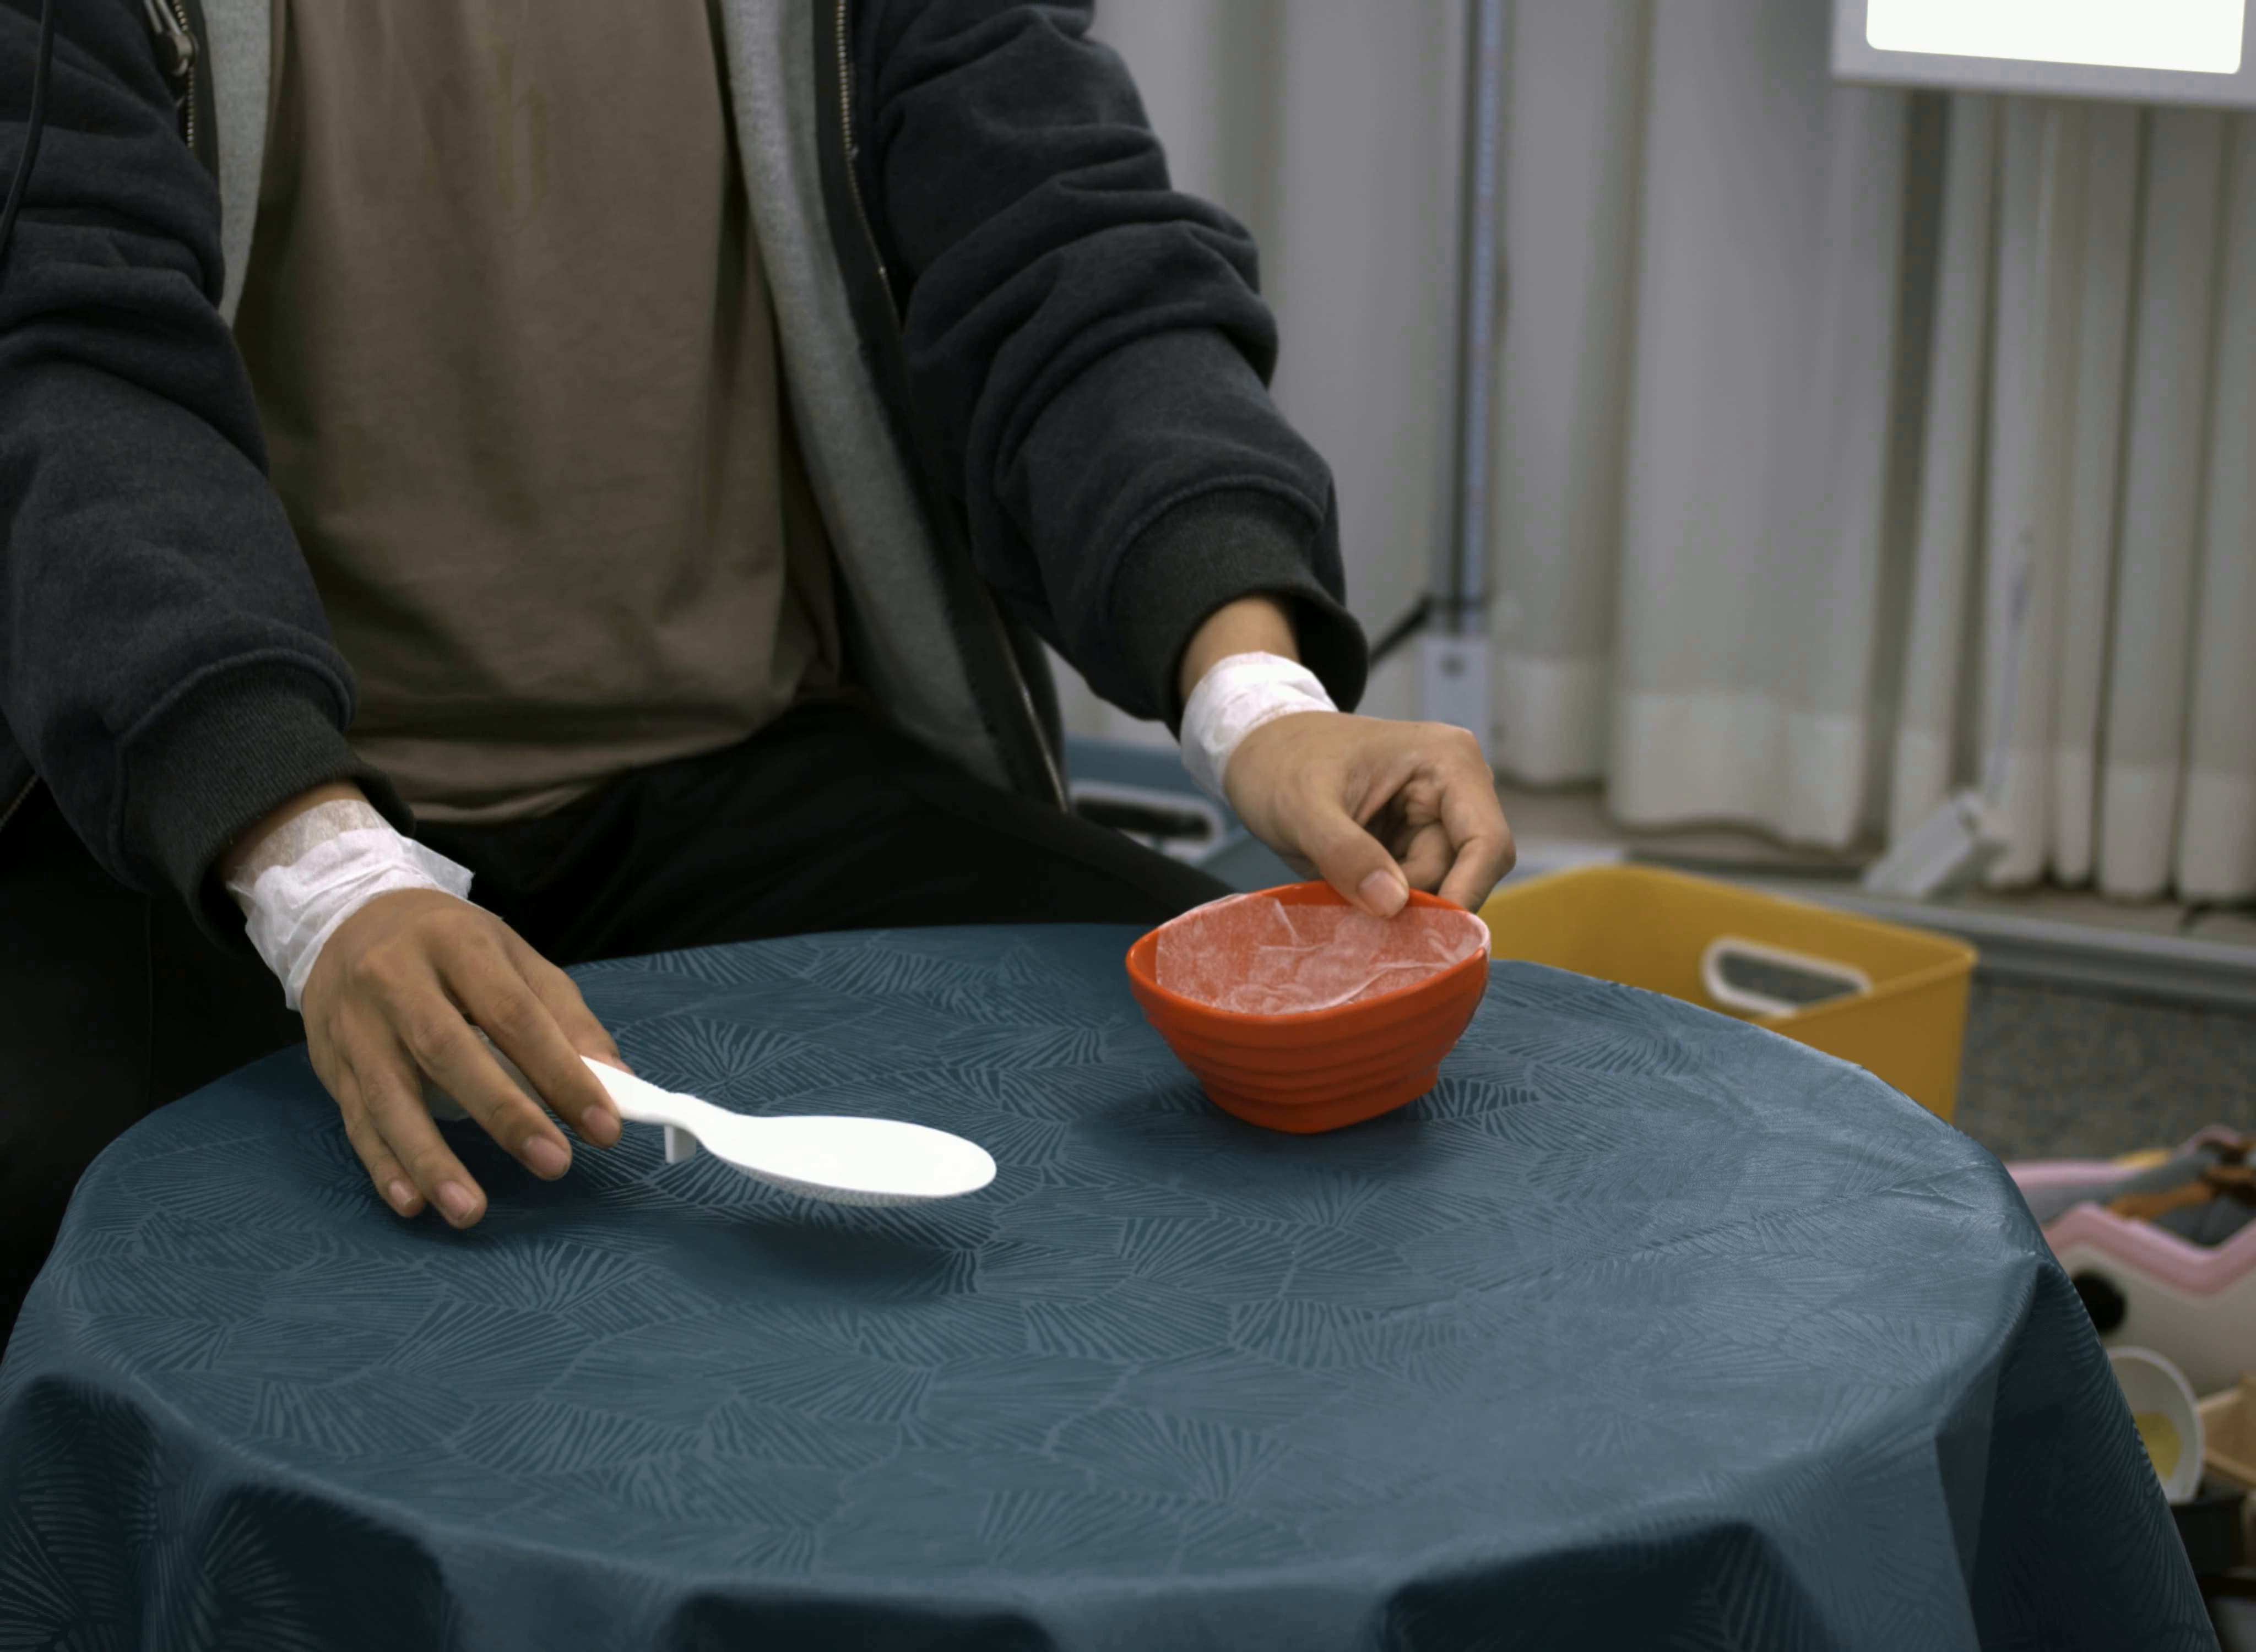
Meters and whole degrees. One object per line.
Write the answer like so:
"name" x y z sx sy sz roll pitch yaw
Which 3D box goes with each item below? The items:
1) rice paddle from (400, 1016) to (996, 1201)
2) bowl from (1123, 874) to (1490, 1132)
"rice paddle" -0.130 0.087 1.595 0.203 0.029 0.069 9 16 28
"bowl" 0.059 0.060 1.699 0.118 0.052 0.118 -5 21 2
